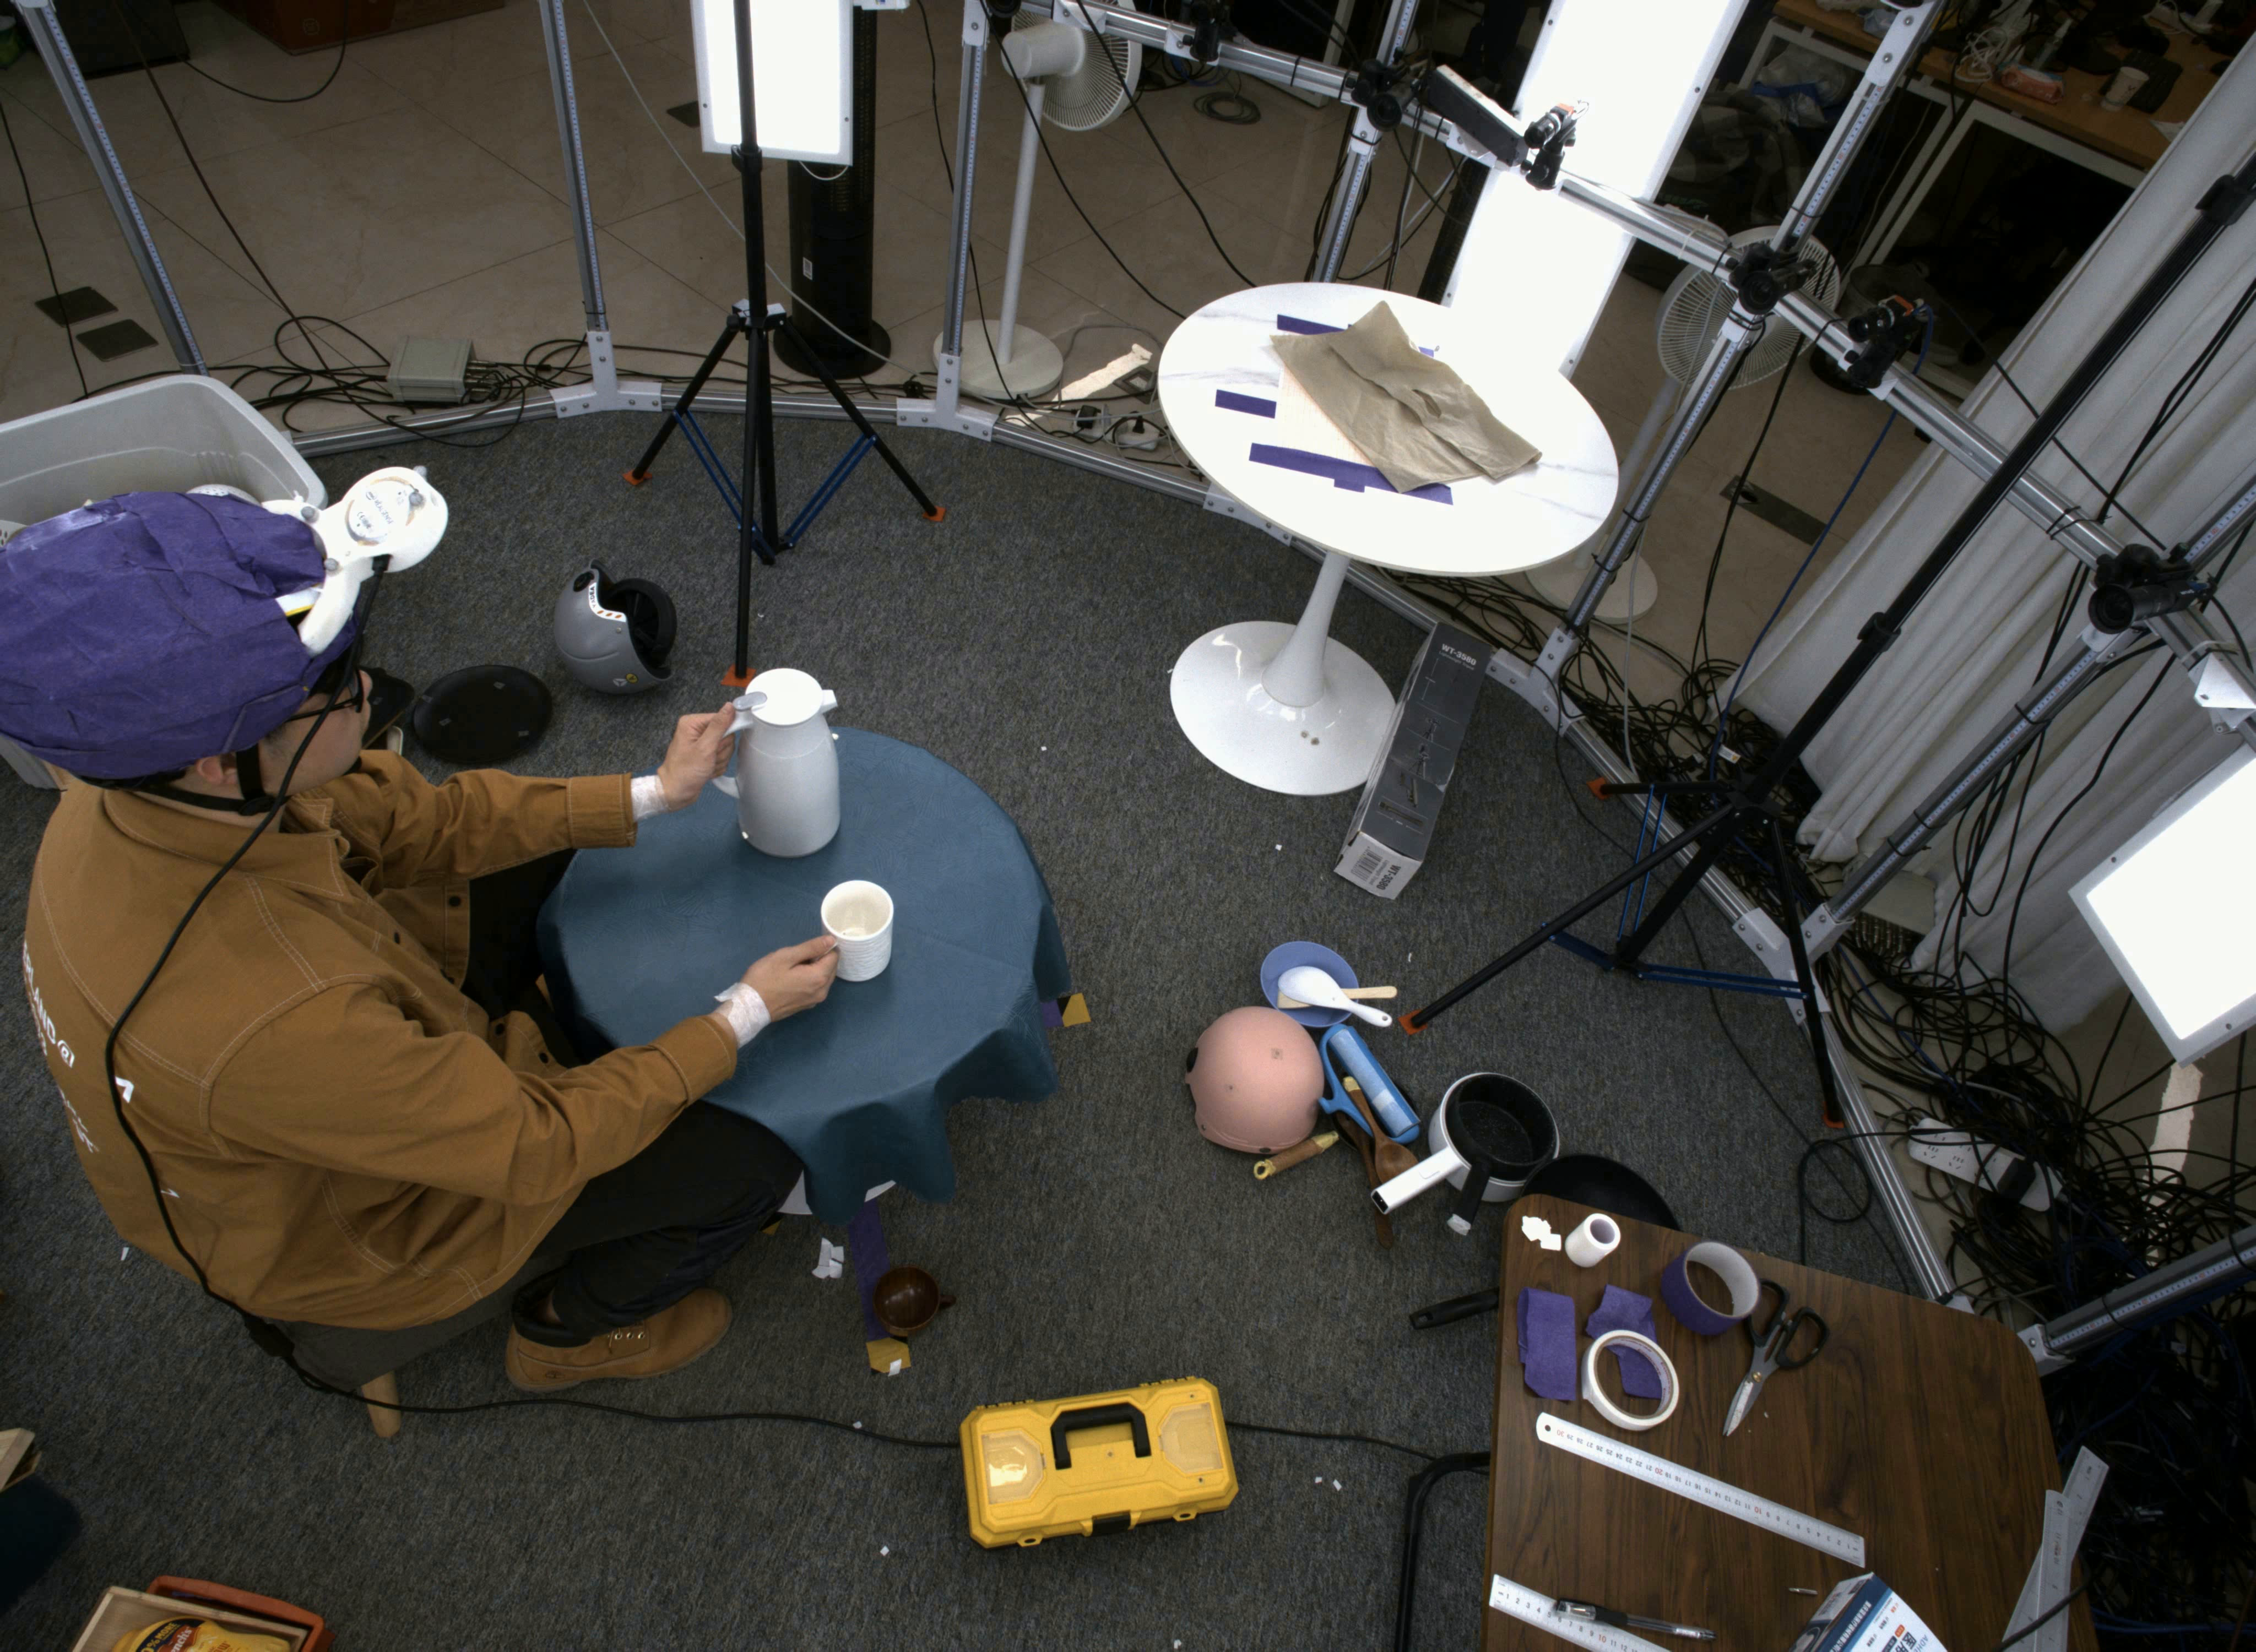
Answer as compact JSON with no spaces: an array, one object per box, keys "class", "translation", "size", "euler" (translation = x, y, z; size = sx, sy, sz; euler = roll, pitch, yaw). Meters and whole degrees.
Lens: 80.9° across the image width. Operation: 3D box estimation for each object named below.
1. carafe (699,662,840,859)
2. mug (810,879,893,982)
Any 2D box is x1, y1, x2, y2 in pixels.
[{"class":"carafe","translation":[-0.447,-0.083,1.616],"size":[0.168,0.254,0.129],"euler":[-15,57,-22]},{"class":"mug","translation":[-0.339,0.137,1.574],"size":[0.083,0.104,0.118],"euler":[33,53,13]}]
